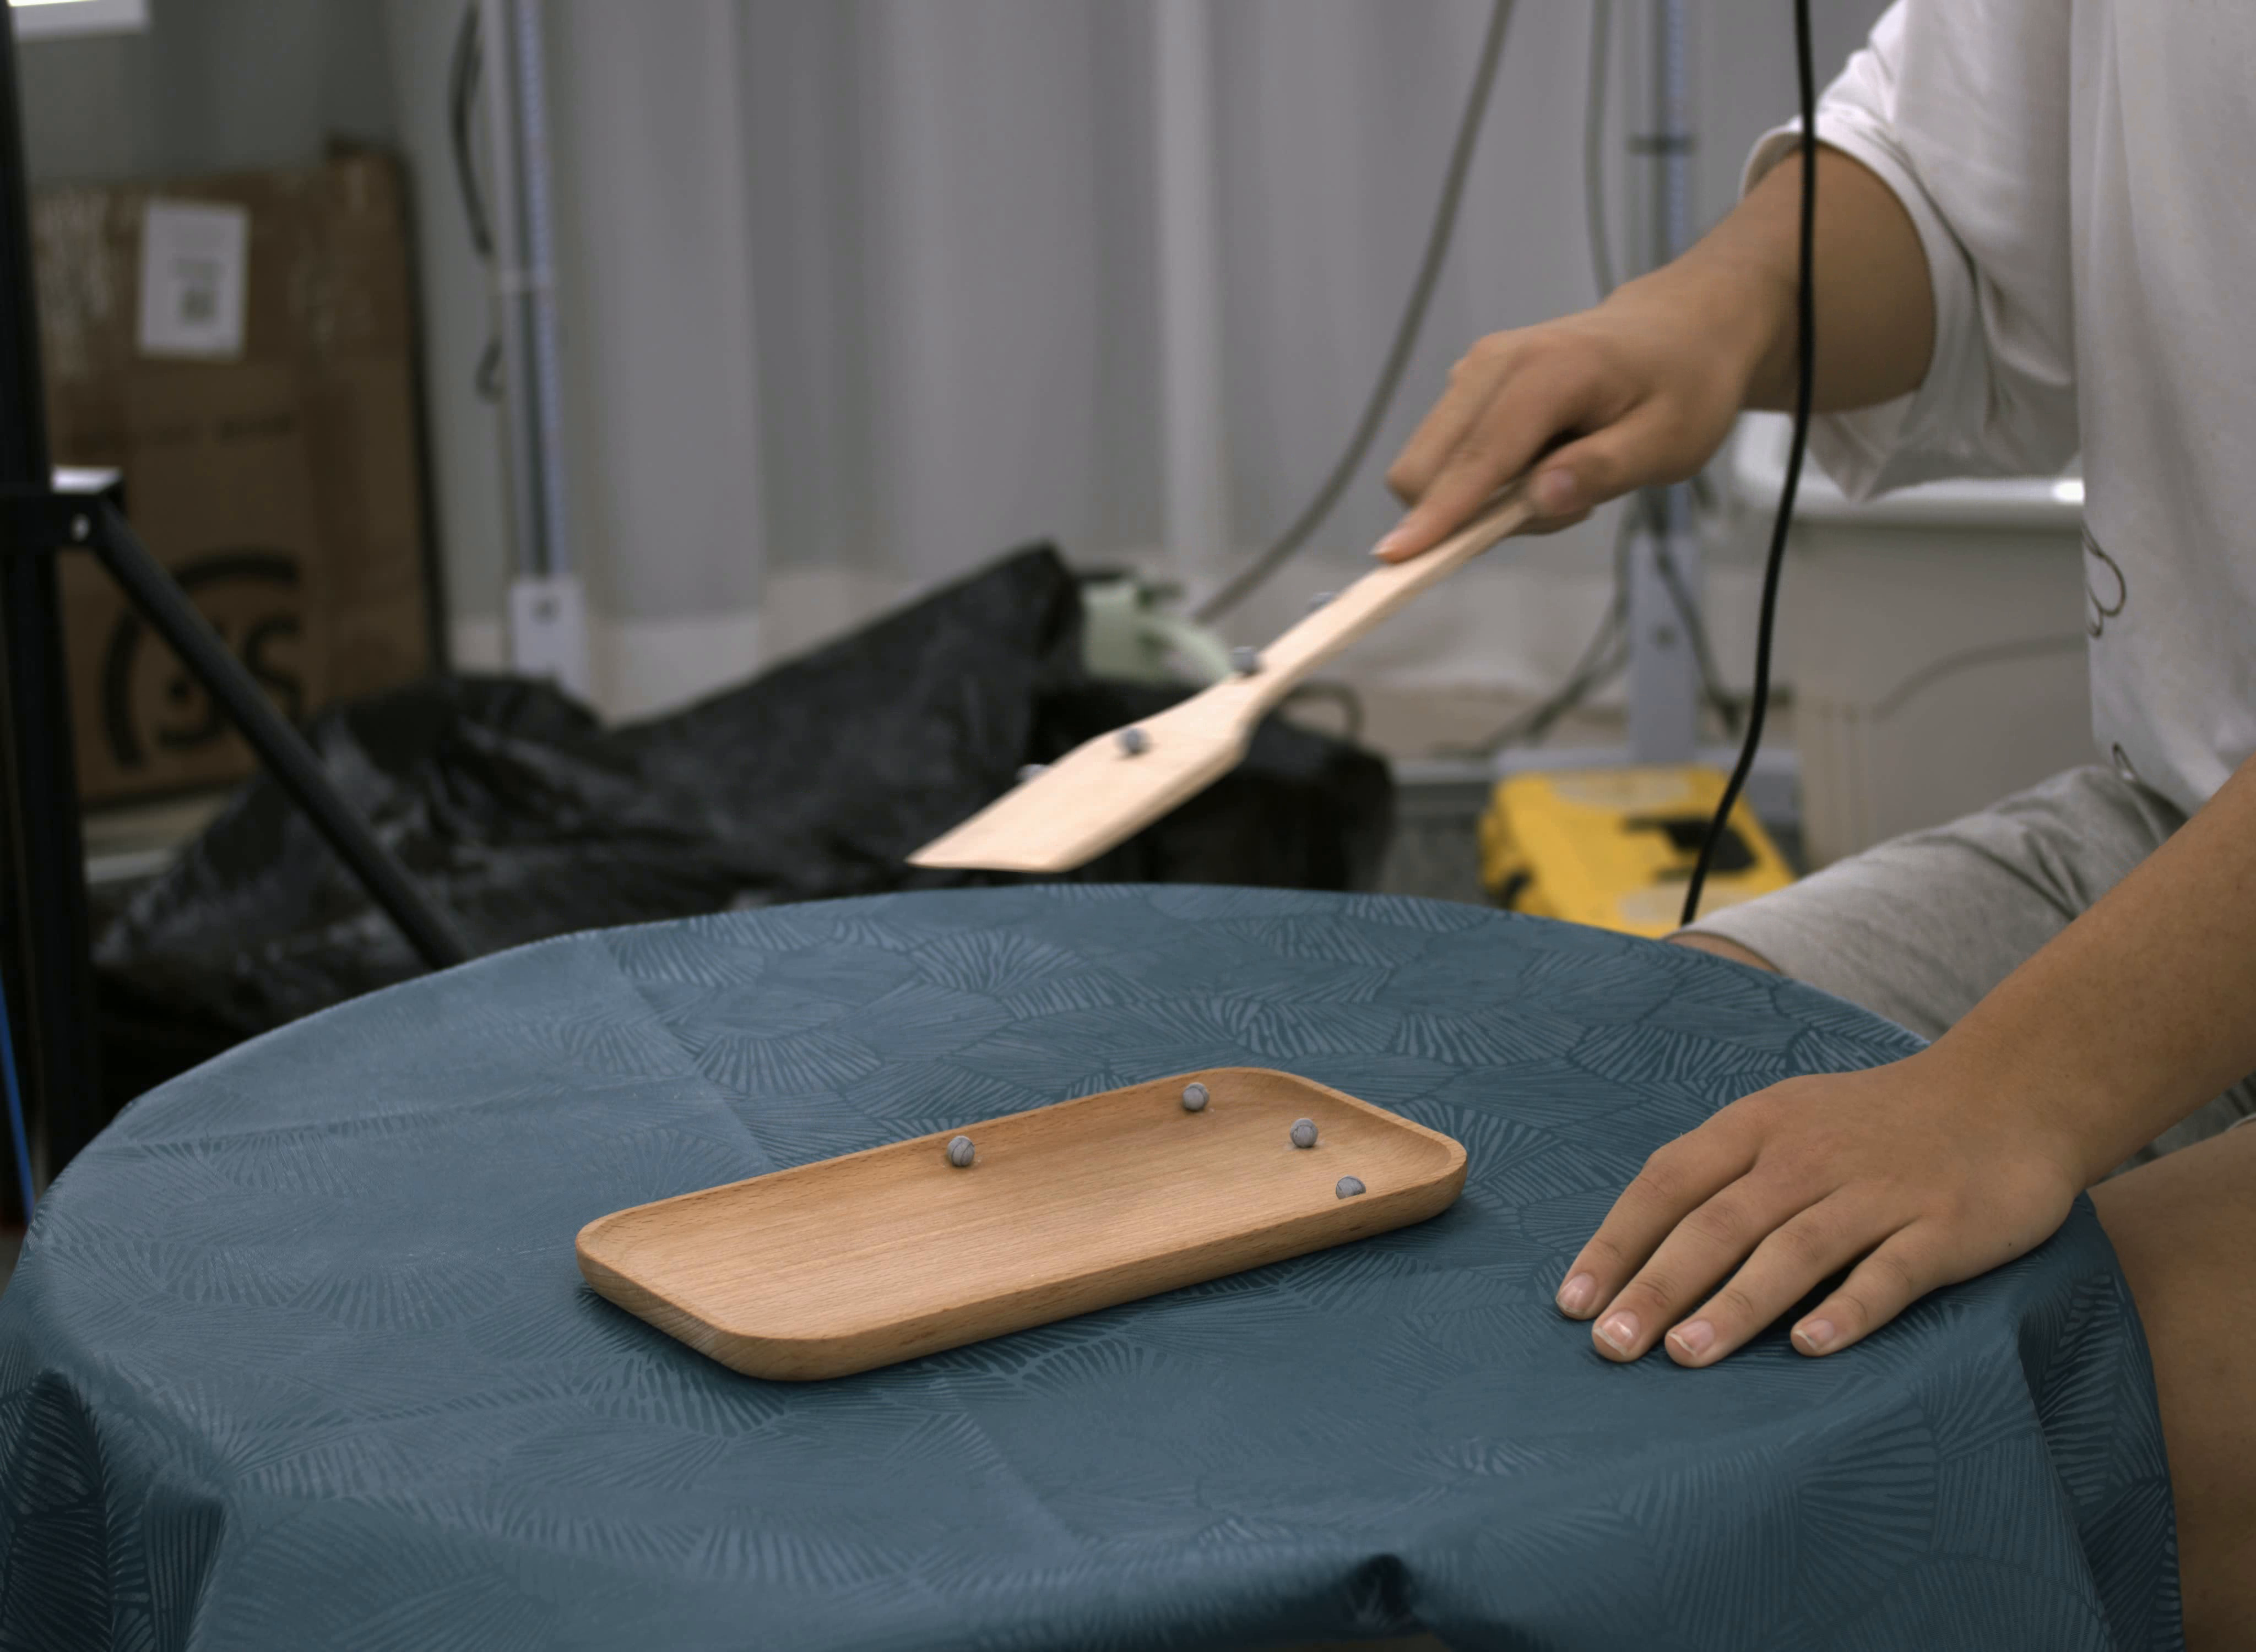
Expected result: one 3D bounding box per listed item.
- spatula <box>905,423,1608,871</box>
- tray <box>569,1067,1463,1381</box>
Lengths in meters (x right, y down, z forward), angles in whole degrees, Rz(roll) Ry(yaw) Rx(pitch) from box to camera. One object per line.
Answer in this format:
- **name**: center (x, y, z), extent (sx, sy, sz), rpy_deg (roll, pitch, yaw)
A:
- **spatula**: center (0.051, -0.057, 1.656), extent (0.289, 0.010, 0.074), rpy_deg (-36, 22, -32)
- **tray**: center (-0.030, 0.112, 1.521), extent (0.245, 0.023, 0.133), rpy_deg (-12, 16, -30)
